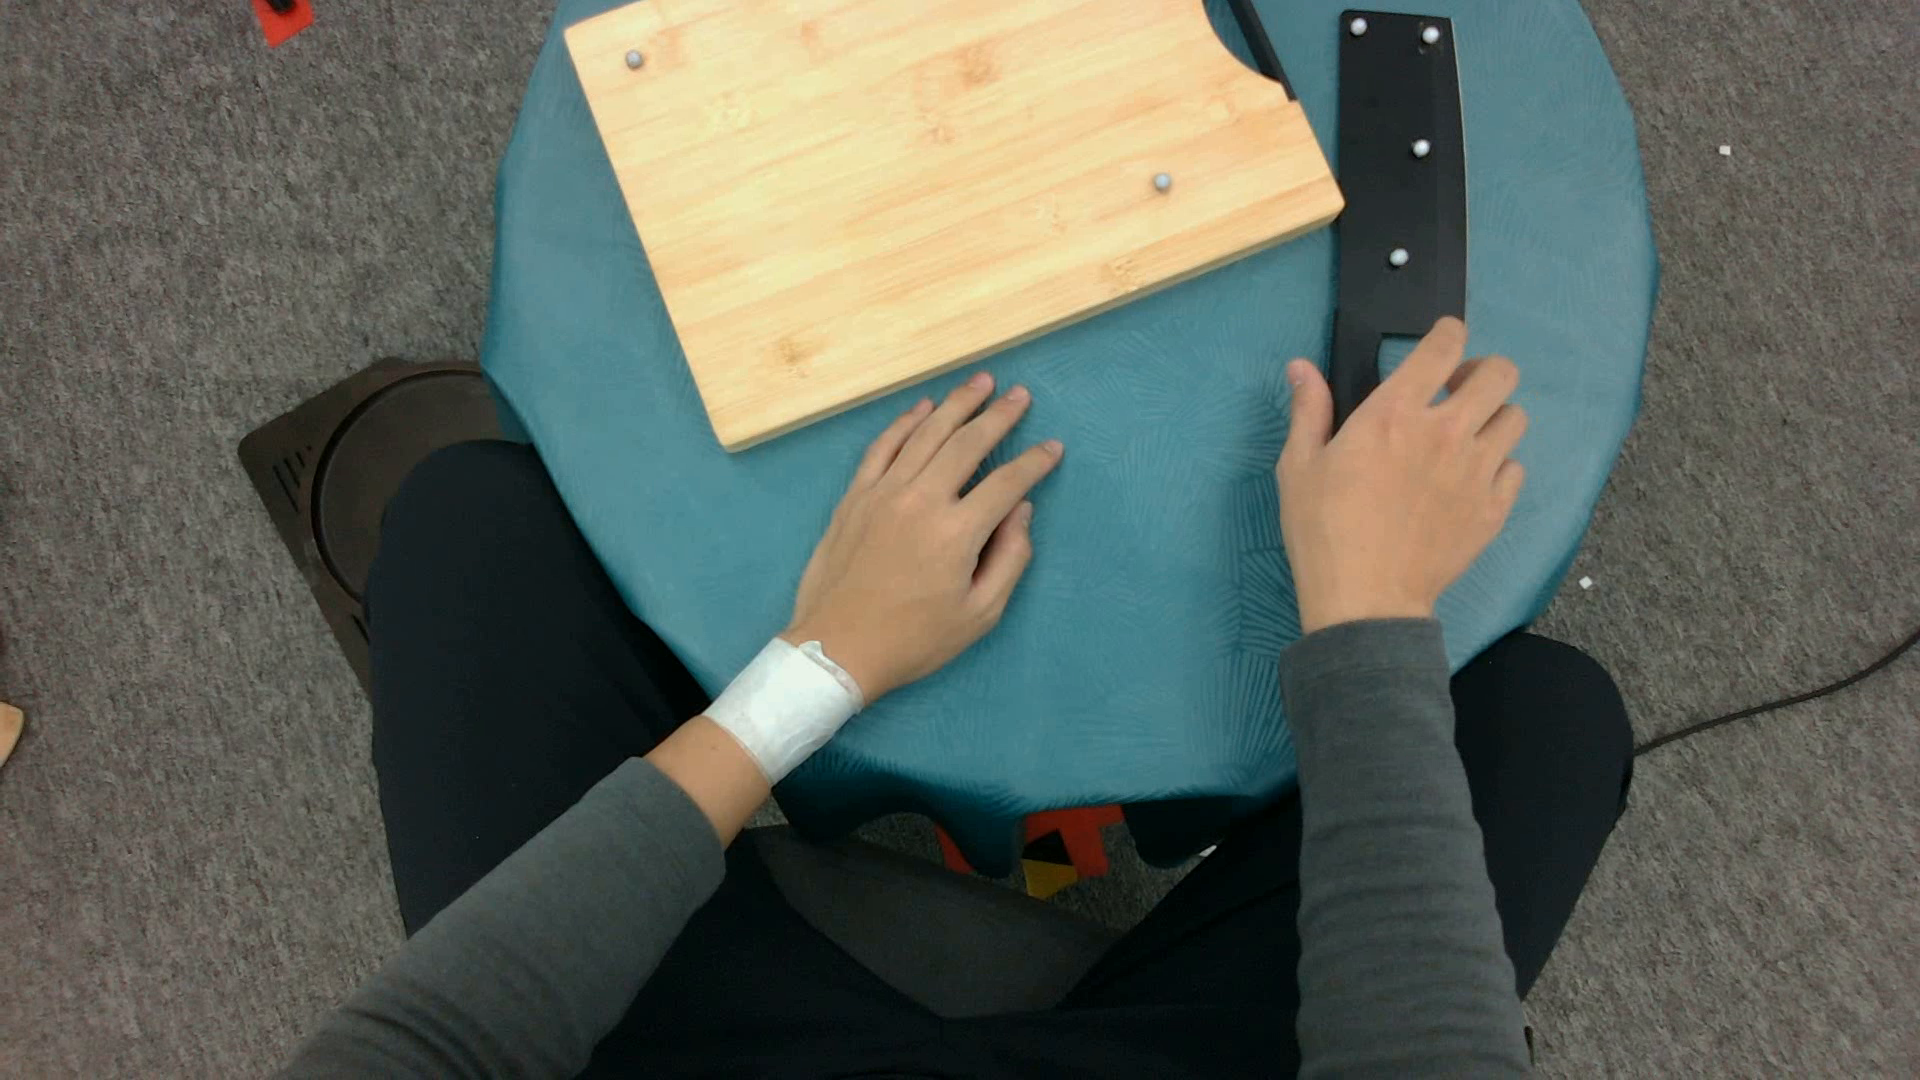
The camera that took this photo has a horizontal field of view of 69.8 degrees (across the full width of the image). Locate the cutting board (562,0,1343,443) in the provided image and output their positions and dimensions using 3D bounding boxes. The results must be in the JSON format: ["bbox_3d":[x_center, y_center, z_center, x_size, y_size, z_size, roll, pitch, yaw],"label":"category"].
[{"bbox_3d":[-0.009,-0.221,0.719,0.349,0.023,0.251,-22,82,-5],"label":"cutting board"}]

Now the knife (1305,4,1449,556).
[{"bbox_3d":[0.213,-0.141,0.710,0.081,0.021,0.303,7,78,0],"label":"knife"}]
